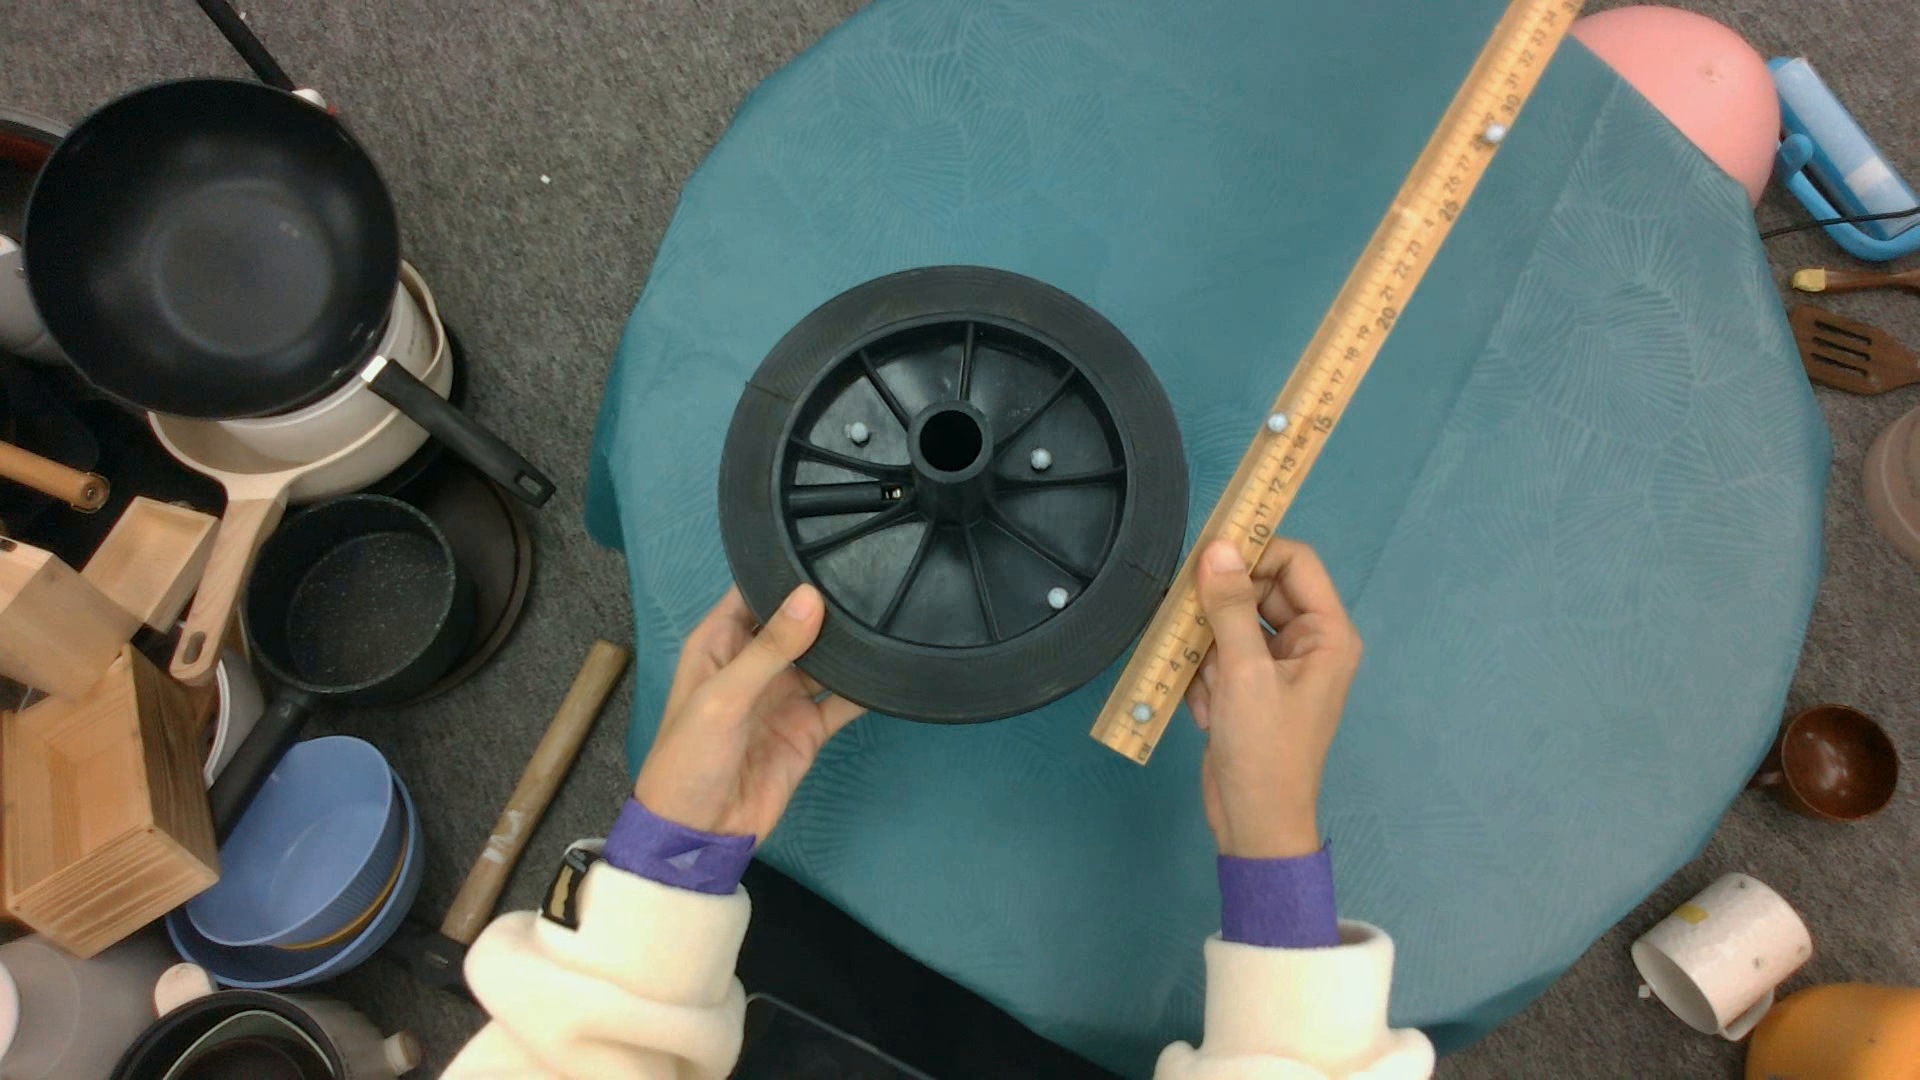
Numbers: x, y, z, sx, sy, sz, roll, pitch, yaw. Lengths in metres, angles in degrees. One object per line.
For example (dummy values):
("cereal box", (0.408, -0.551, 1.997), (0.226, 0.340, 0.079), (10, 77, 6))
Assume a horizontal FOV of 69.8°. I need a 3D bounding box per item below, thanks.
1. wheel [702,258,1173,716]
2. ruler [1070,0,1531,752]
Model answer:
("wheel", (-0.009, -0.029, 0.534), (0.190, 0.079, 0.187), (-26, 77, -6))
("ruler", (0.175, -0.140, 0.556), (0.027, 0.006, 0.501), (29, 84, 0))
